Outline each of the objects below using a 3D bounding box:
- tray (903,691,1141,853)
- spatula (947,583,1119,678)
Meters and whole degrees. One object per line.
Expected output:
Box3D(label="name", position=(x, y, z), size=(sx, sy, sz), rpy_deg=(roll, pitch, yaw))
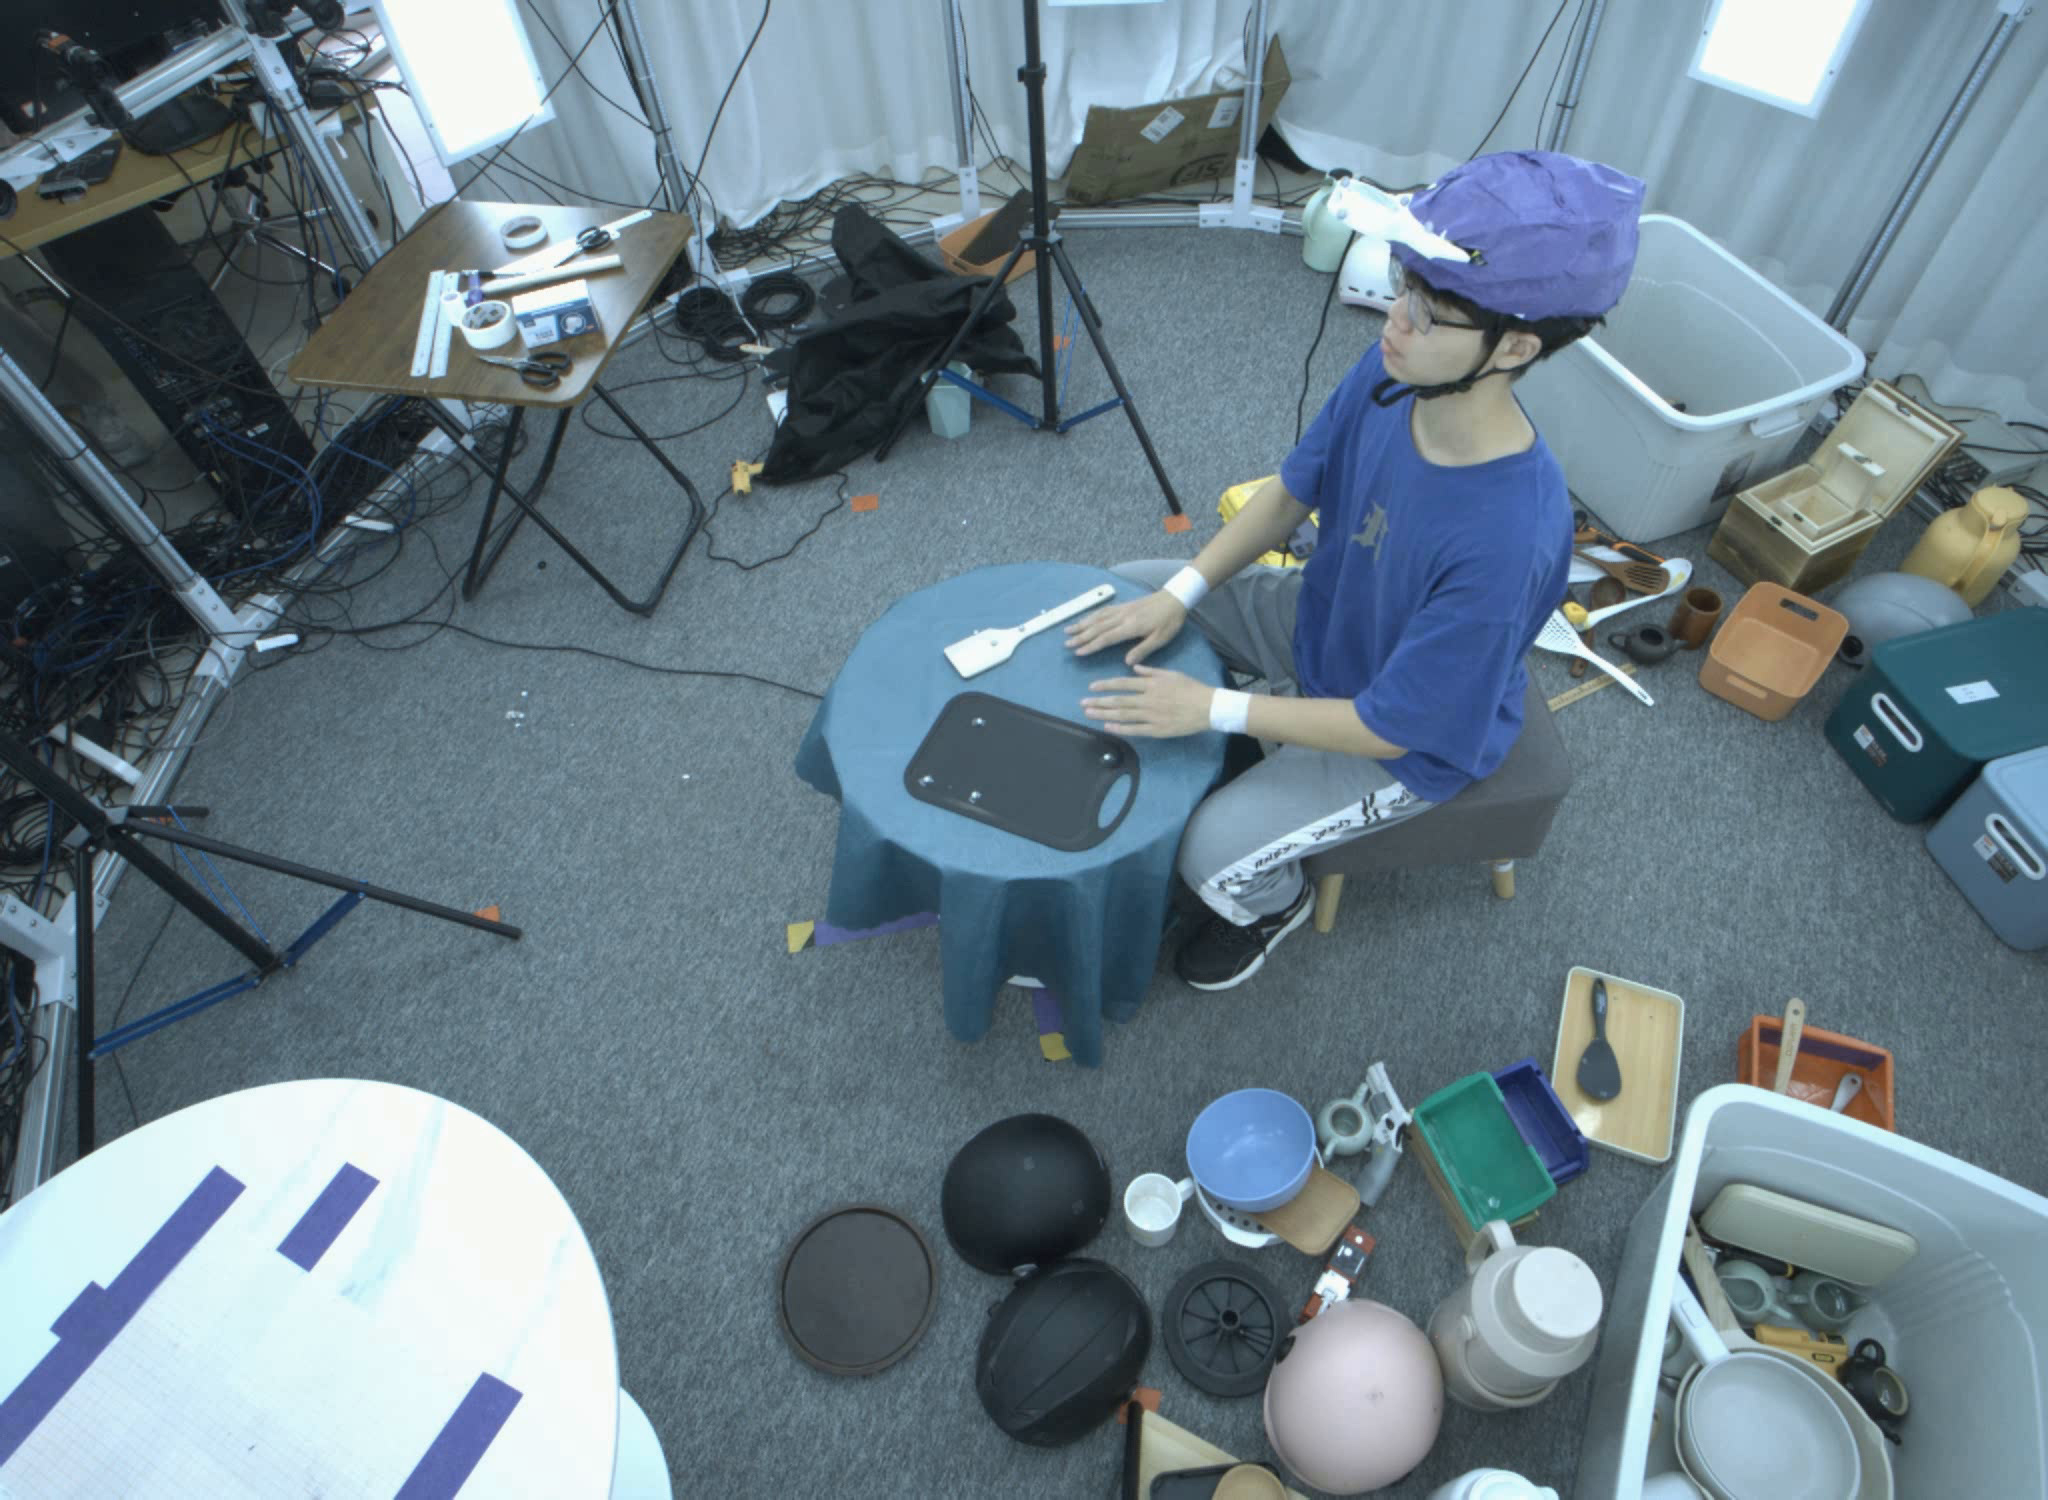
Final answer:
Box3D(label="tray", position=(0.003, 0.027, 1.754), size=(0.321, 0.010, 0.211), rpy_deg=(20, 58, 15))
Box3D(label="spatula", position=(0.020, -0.195, 1.911), size=(0.295, 0.011, 0.071), rpy_deg=(-27, 57, -16))
